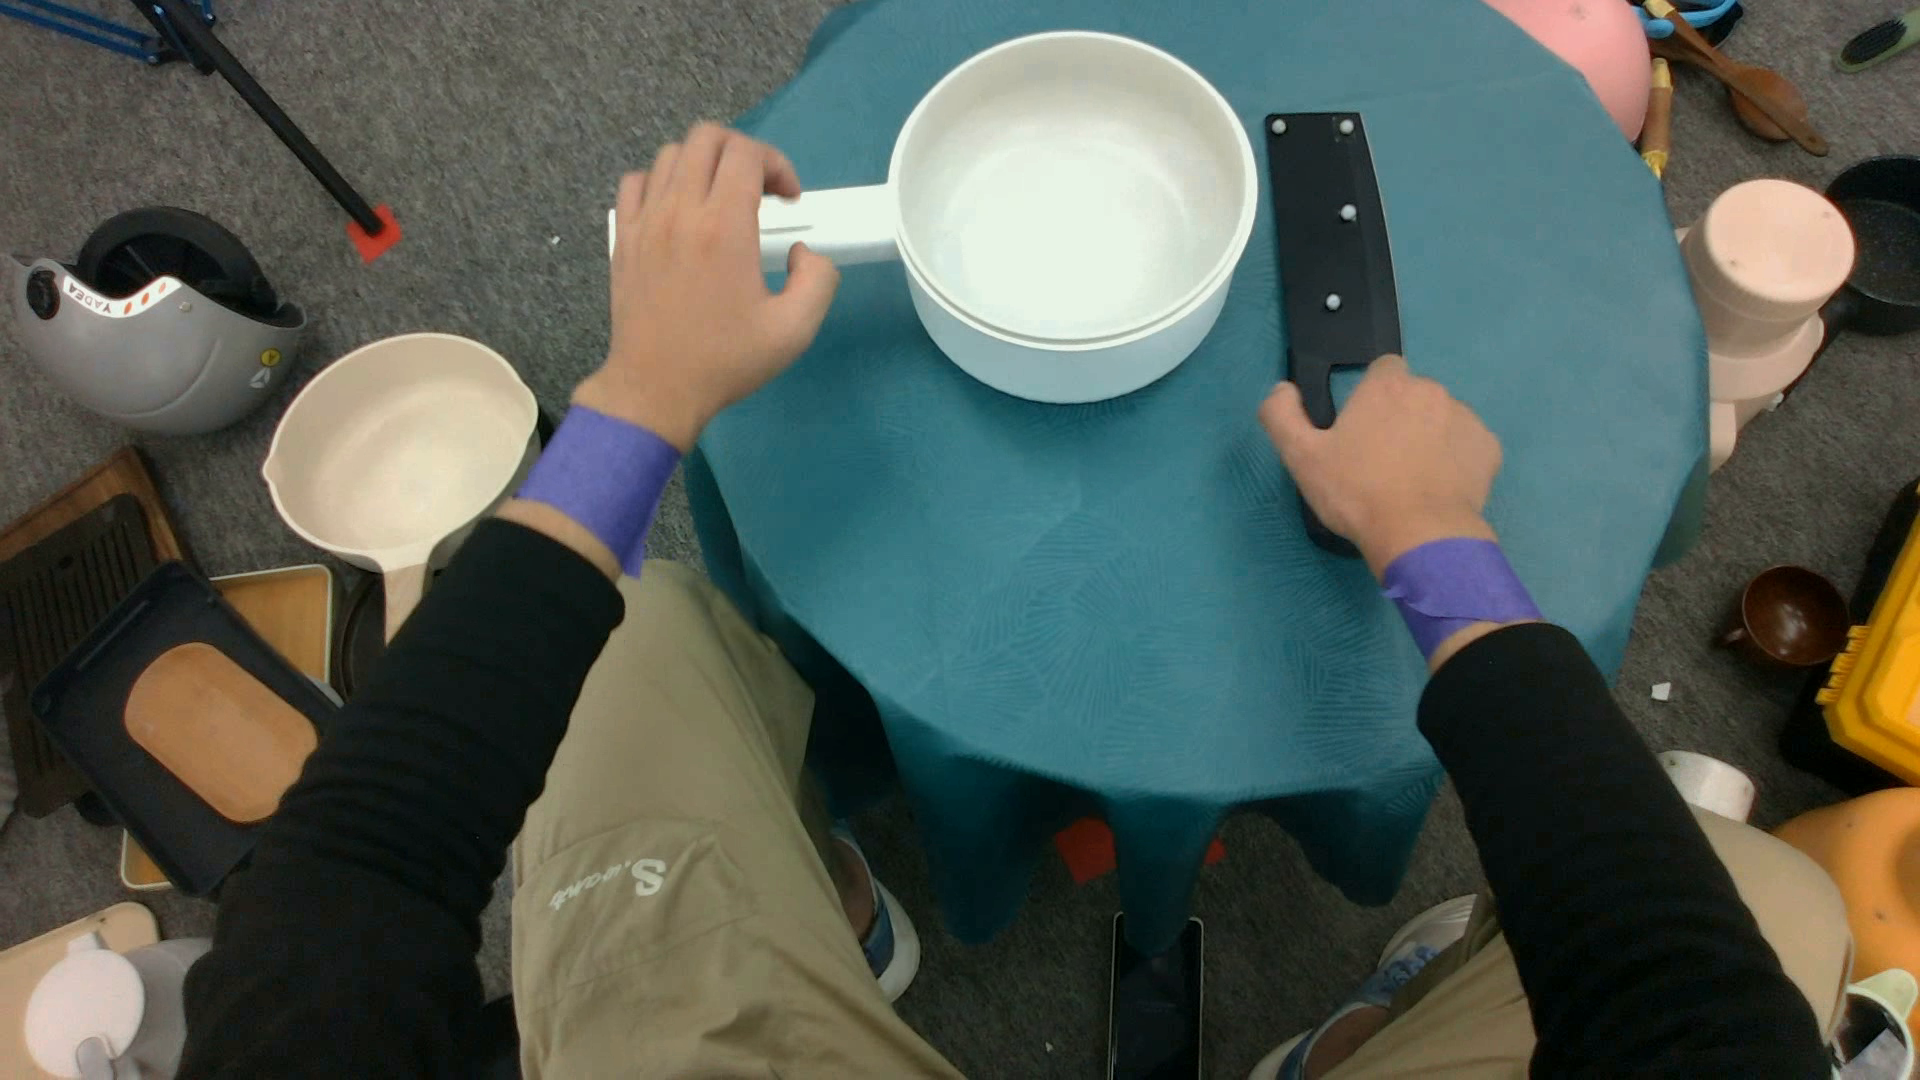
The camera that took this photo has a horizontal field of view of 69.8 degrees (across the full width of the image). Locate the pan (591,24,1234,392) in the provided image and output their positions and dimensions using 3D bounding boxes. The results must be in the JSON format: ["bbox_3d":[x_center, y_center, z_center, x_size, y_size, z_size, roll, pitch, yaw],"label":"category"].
[{"bbox_3d":[-0.025,-0.177,0.796,0.355,0.102,0.202,-6,70,1],"label":"pan"}]

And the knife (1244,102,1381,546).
[{"bbox_3d":[0.210,-0.139,0.817,0.081,0.021,0.303,3,68,3],"label":"knife"}]
